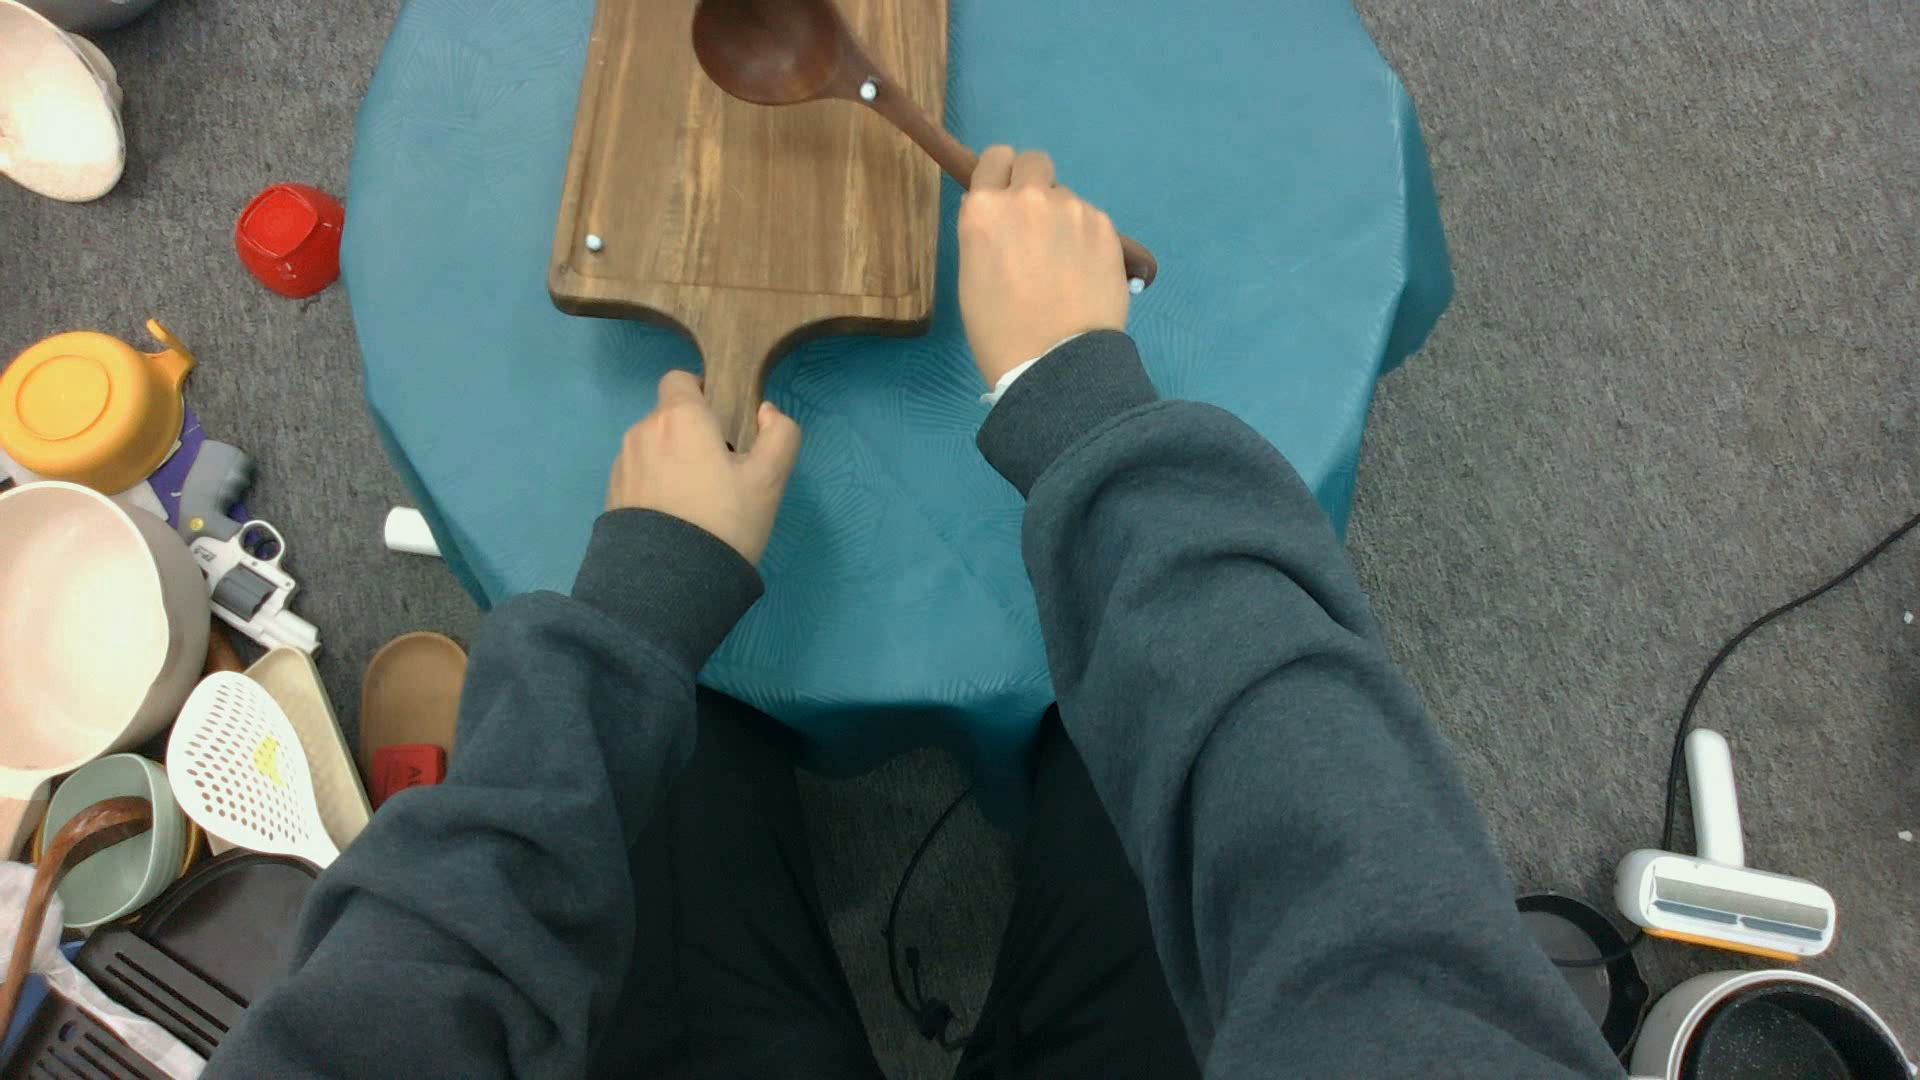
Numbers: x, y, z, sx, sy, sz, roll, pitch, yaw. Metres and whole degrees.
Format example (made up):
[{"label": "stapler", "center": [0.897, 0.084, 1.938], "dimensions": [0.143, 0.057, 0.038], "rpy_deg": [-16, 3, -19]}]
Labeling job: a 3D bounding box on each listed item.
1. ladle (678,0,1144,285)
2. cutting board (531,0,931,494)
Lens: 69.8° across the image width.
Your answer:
[{"label": "ladle", "center": [-0.026, -0.196, 0.673], "dimensions": [0.260, 0.076, 0.065], "rpy_deg": [39, 46, 9]}, {"label": "cutting board", "center": [-0.118, -0.186, 0.730], "dimensions": [0.201, 0.023, 0.353], "rpy_deg": [2, 66, -2]}]
